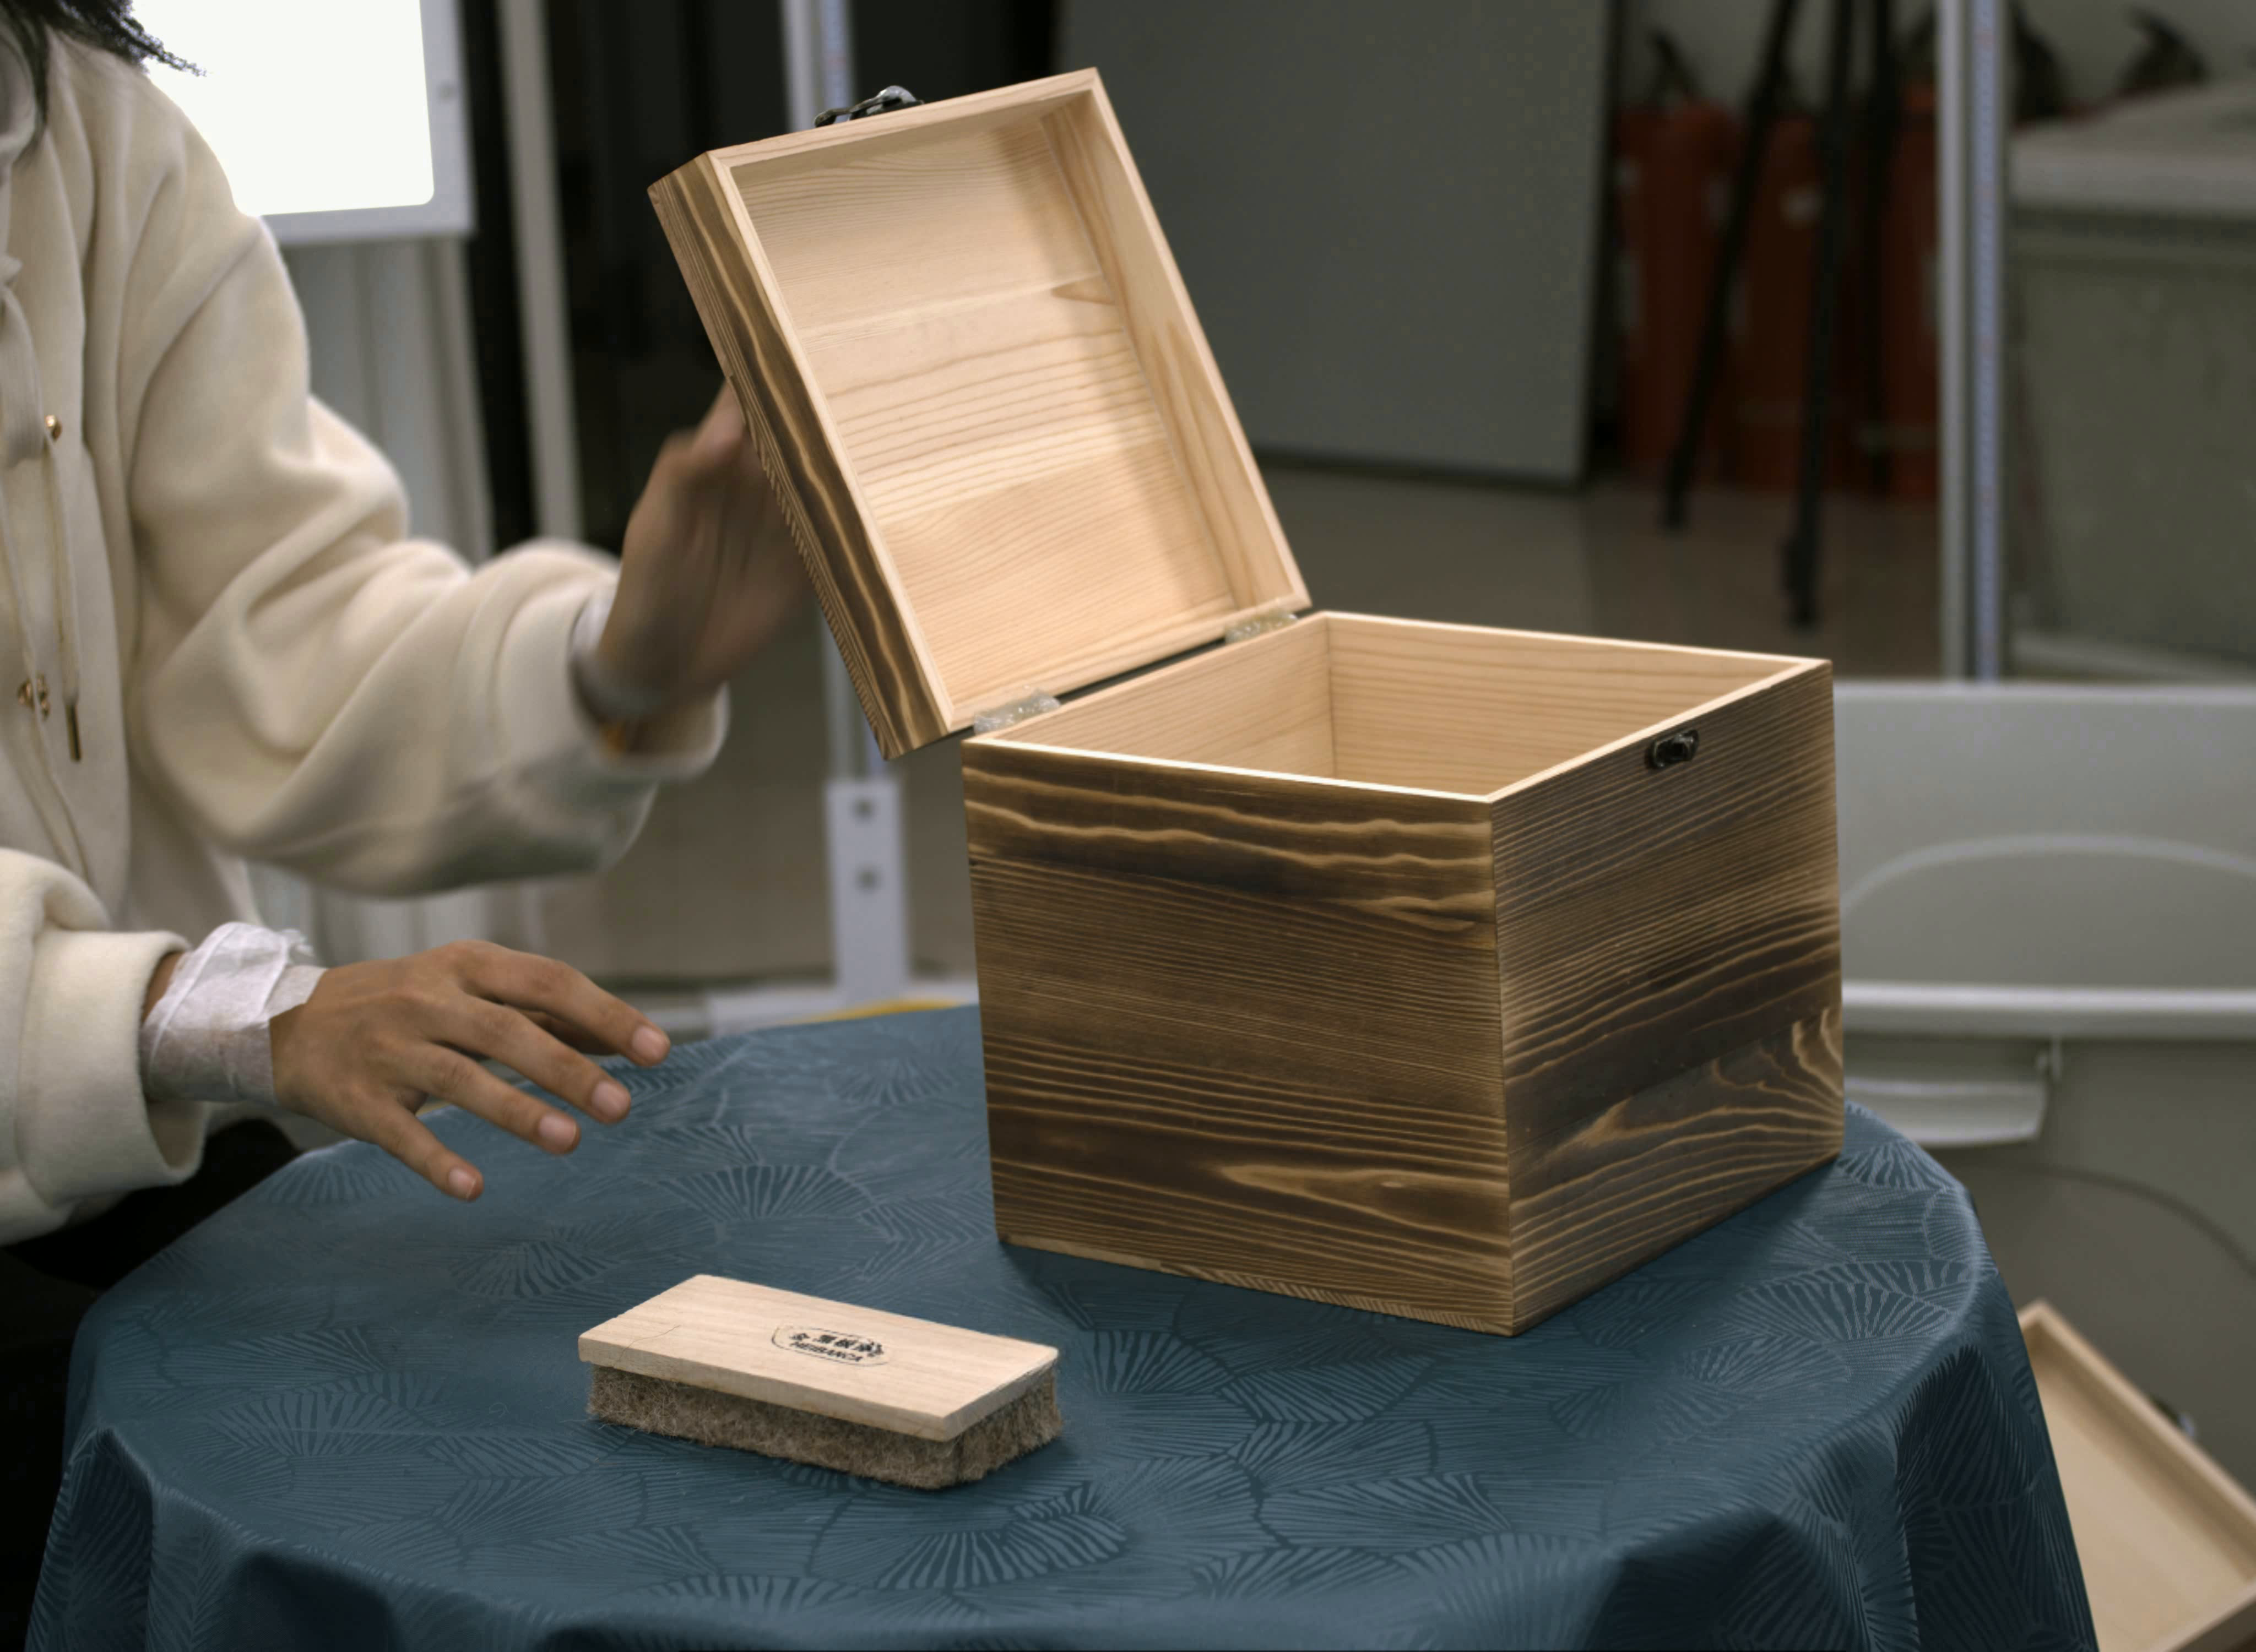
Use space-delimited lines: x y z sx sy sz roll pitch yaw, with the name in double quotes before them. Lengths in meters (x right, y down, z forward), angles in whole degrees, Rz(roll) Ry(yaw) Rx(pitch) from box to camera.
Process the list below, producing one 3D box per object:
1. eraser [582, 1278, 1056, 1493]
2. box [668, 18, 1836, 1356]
"eraser" -0.089 0.163 1.567 0.140 0.029 0.056 6 20 39
"box" 0.042 -0.061 1.728 0.324 0.379 0.205 7 18 37
